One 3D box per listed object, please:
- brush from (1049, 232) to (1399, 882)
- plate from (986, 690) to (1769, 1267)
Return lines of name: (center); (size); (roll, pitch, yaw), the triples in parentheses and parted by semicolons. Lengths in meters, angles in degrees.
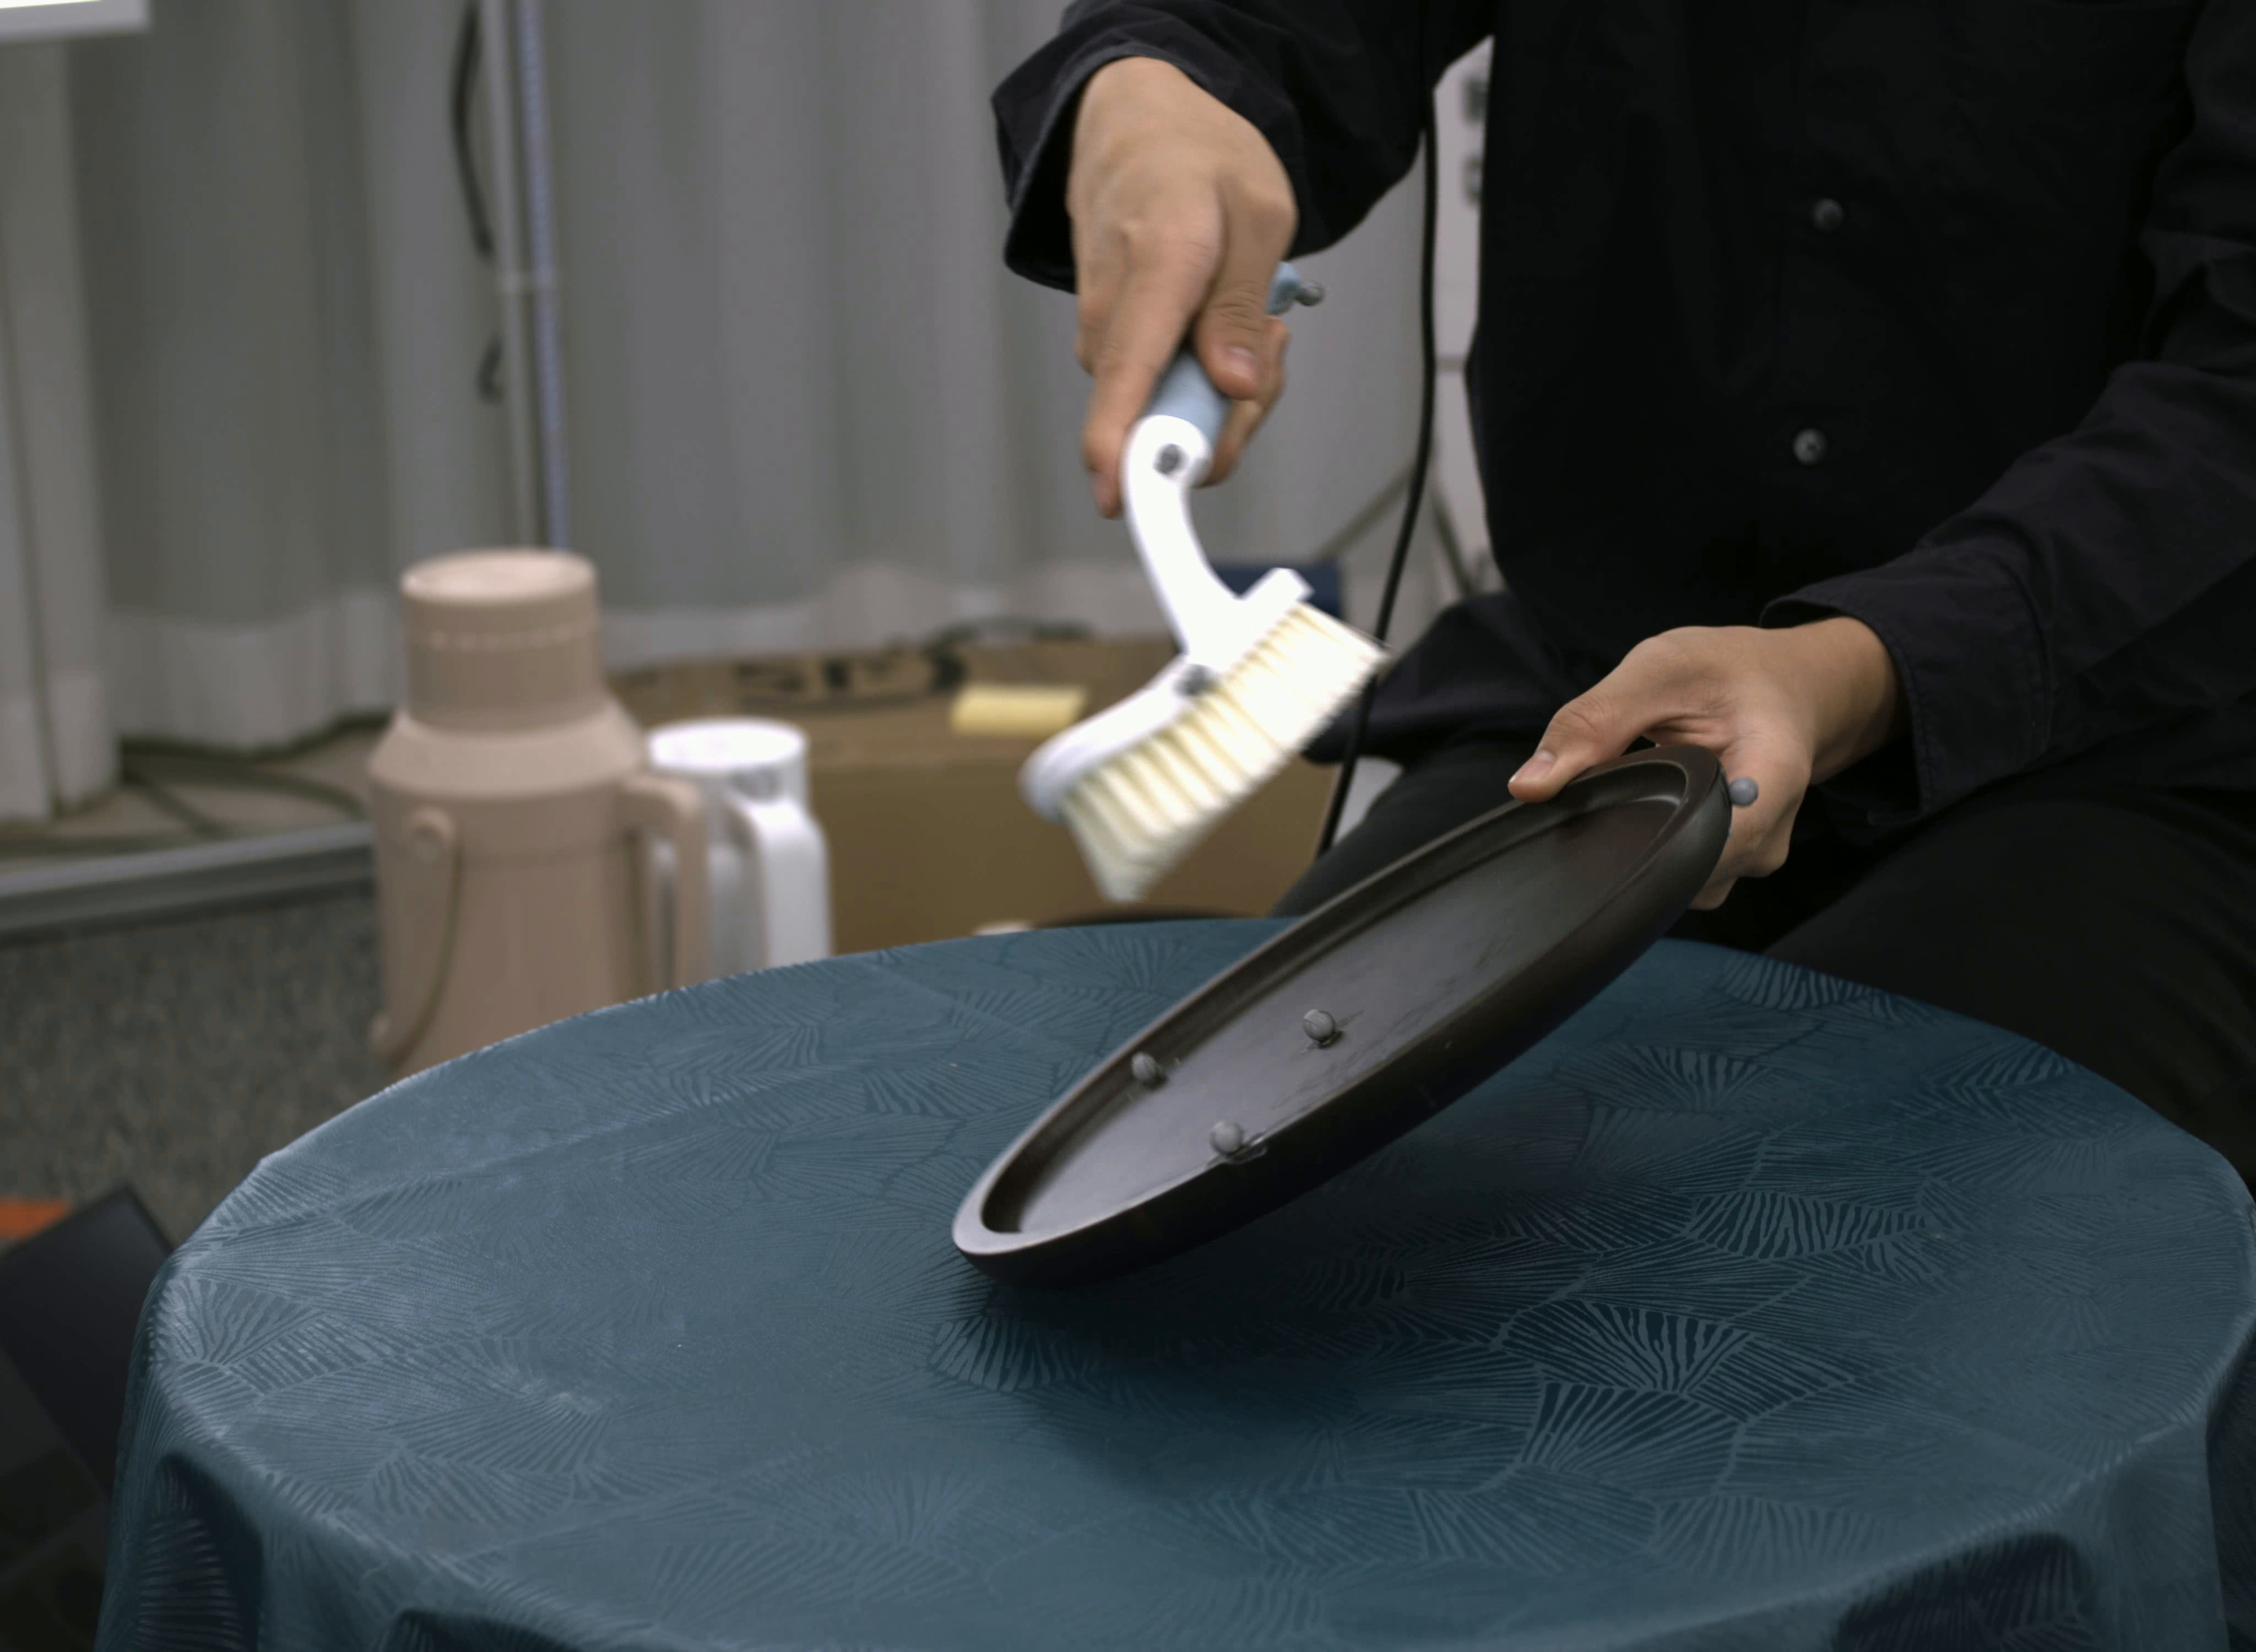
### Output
brush: (0.045, -0.077, 1.527); (0.084, 0.084, 0.325); (-8, 28, 16)
plate: (0.071, 0.046, 1.481); (0.254, 0.029, 0.255); (-34, 7, 3)
